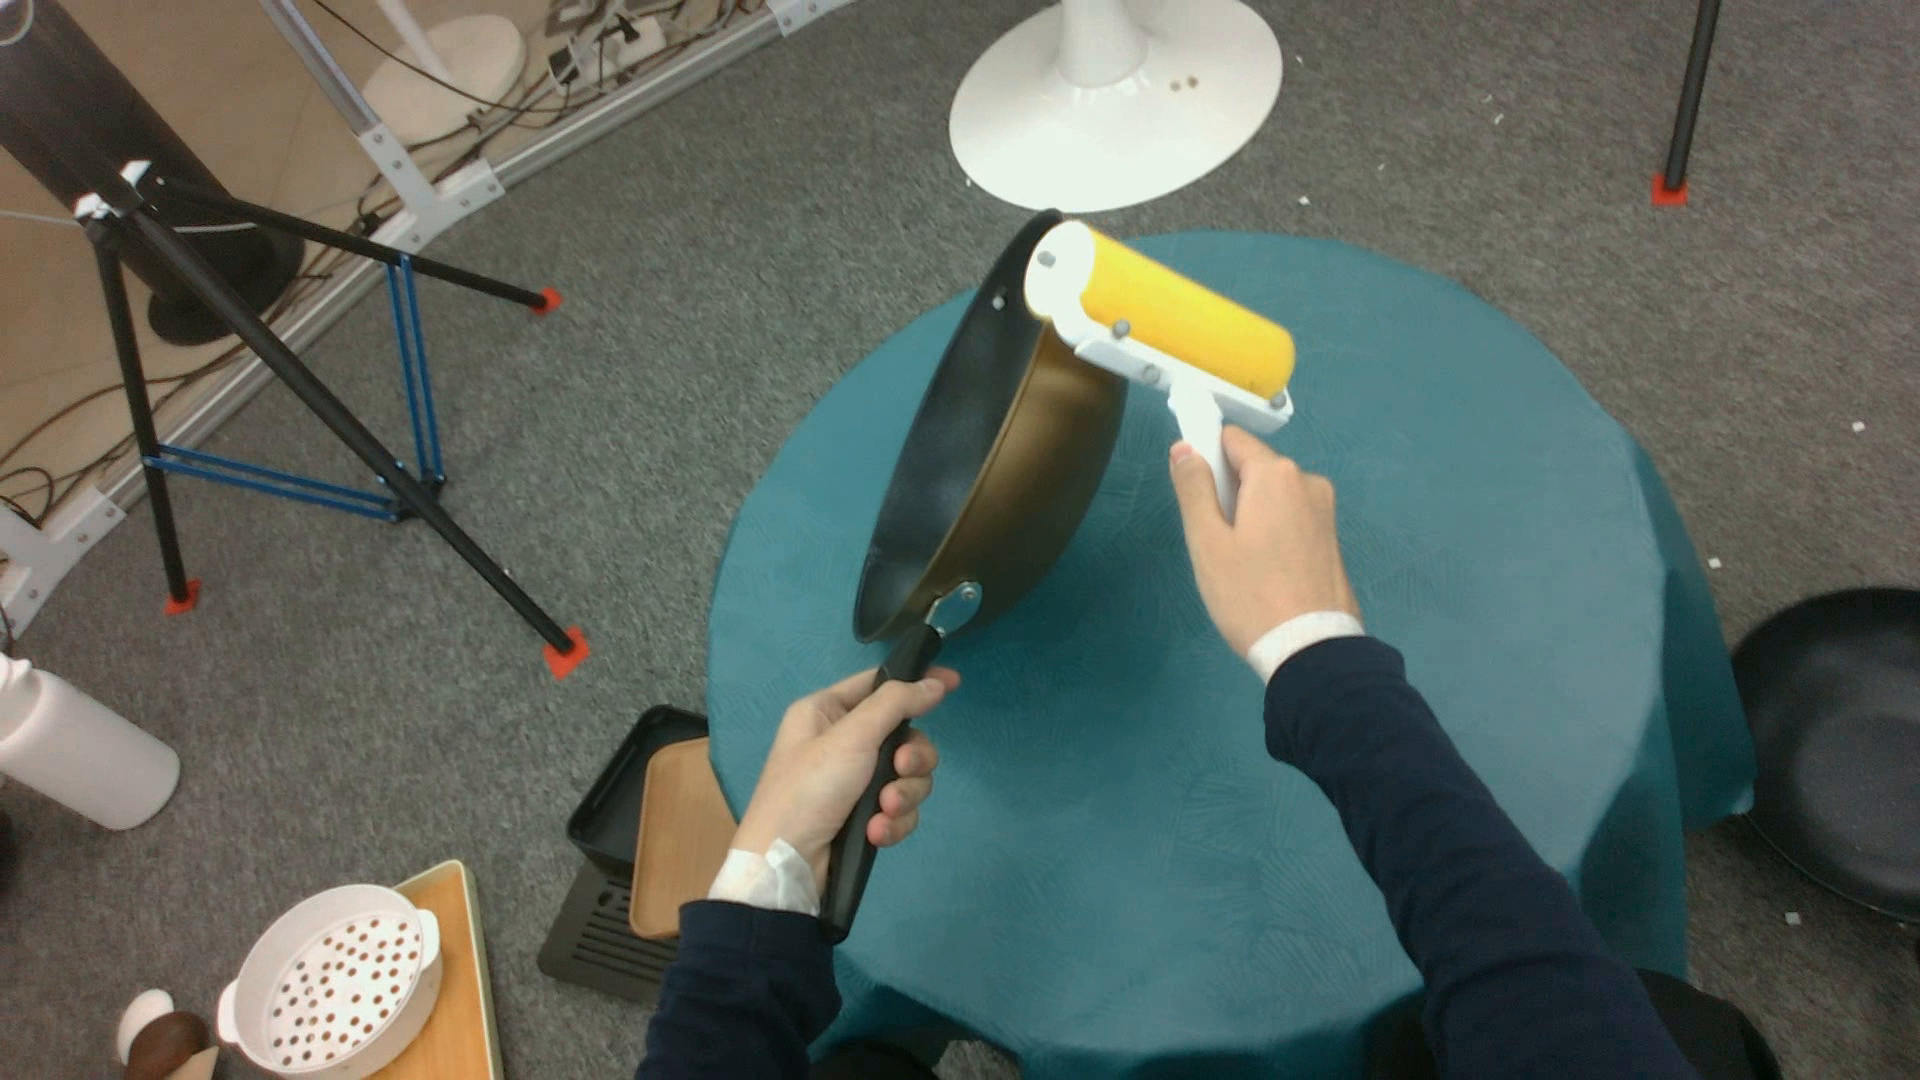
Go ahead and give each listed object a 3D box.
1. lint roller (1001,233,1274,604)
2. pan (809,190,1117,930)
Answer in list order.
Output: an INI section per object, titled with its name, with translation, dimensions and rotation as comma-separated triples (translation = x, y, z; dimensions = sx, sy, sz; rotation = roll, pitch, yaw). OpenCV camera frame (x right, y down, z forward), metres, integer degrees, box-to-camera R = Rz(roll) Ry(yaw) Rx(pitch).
[lint roller]
translation = 0.118, -0.058, 0.680
dimensions = 0.051, 0.174, 0.192
rotation = -47, 49, 30
[pan]
translation = 0.006, 0.005, 0.770
dimensions = 0.087, 0.286, 0.465
rotation = 23, 48, -13
